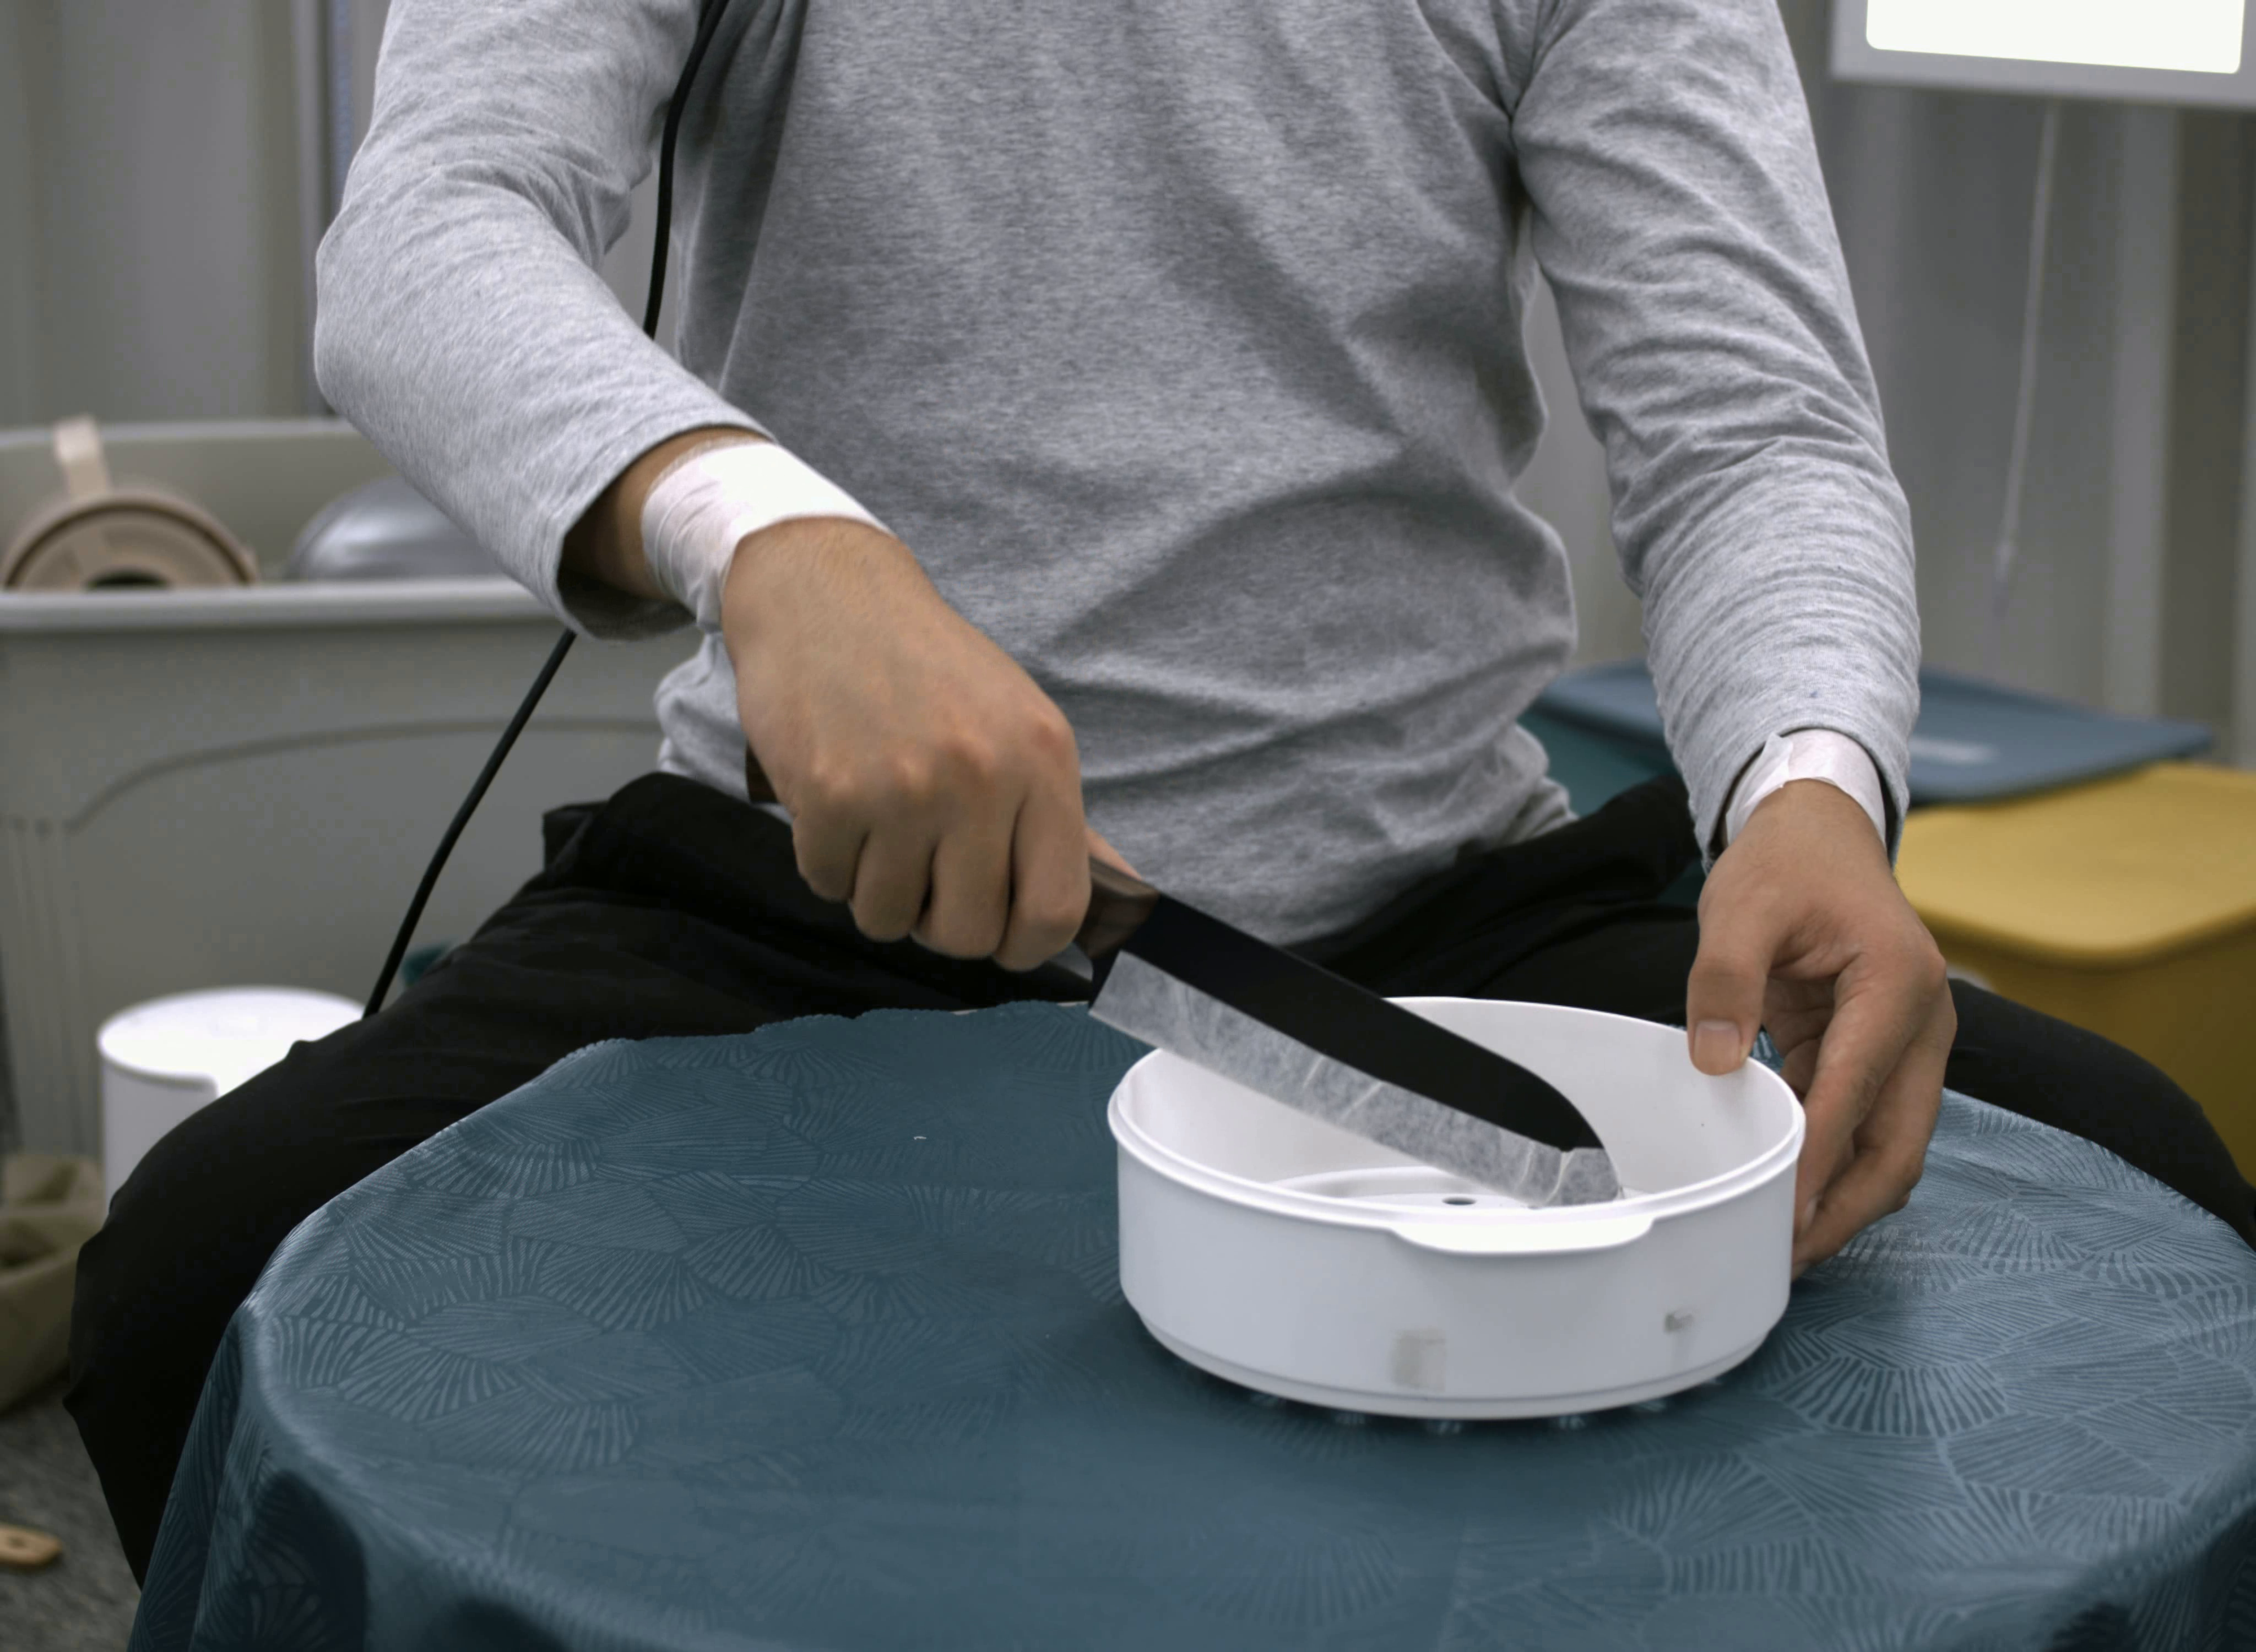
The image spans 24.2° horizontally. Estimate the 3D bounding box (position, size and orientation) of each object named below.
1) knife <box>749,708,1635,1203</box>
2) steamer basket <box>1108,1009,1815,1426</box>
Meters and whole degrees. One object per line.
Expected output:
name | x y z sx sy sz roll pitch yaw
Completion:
knife | 0.018 0.040 1.504 0.289 0.050 0.020 28 24 -1
steamer basket | 0.094 0.111 1.507 0.202 0.070 0.229 -1 15 -8
